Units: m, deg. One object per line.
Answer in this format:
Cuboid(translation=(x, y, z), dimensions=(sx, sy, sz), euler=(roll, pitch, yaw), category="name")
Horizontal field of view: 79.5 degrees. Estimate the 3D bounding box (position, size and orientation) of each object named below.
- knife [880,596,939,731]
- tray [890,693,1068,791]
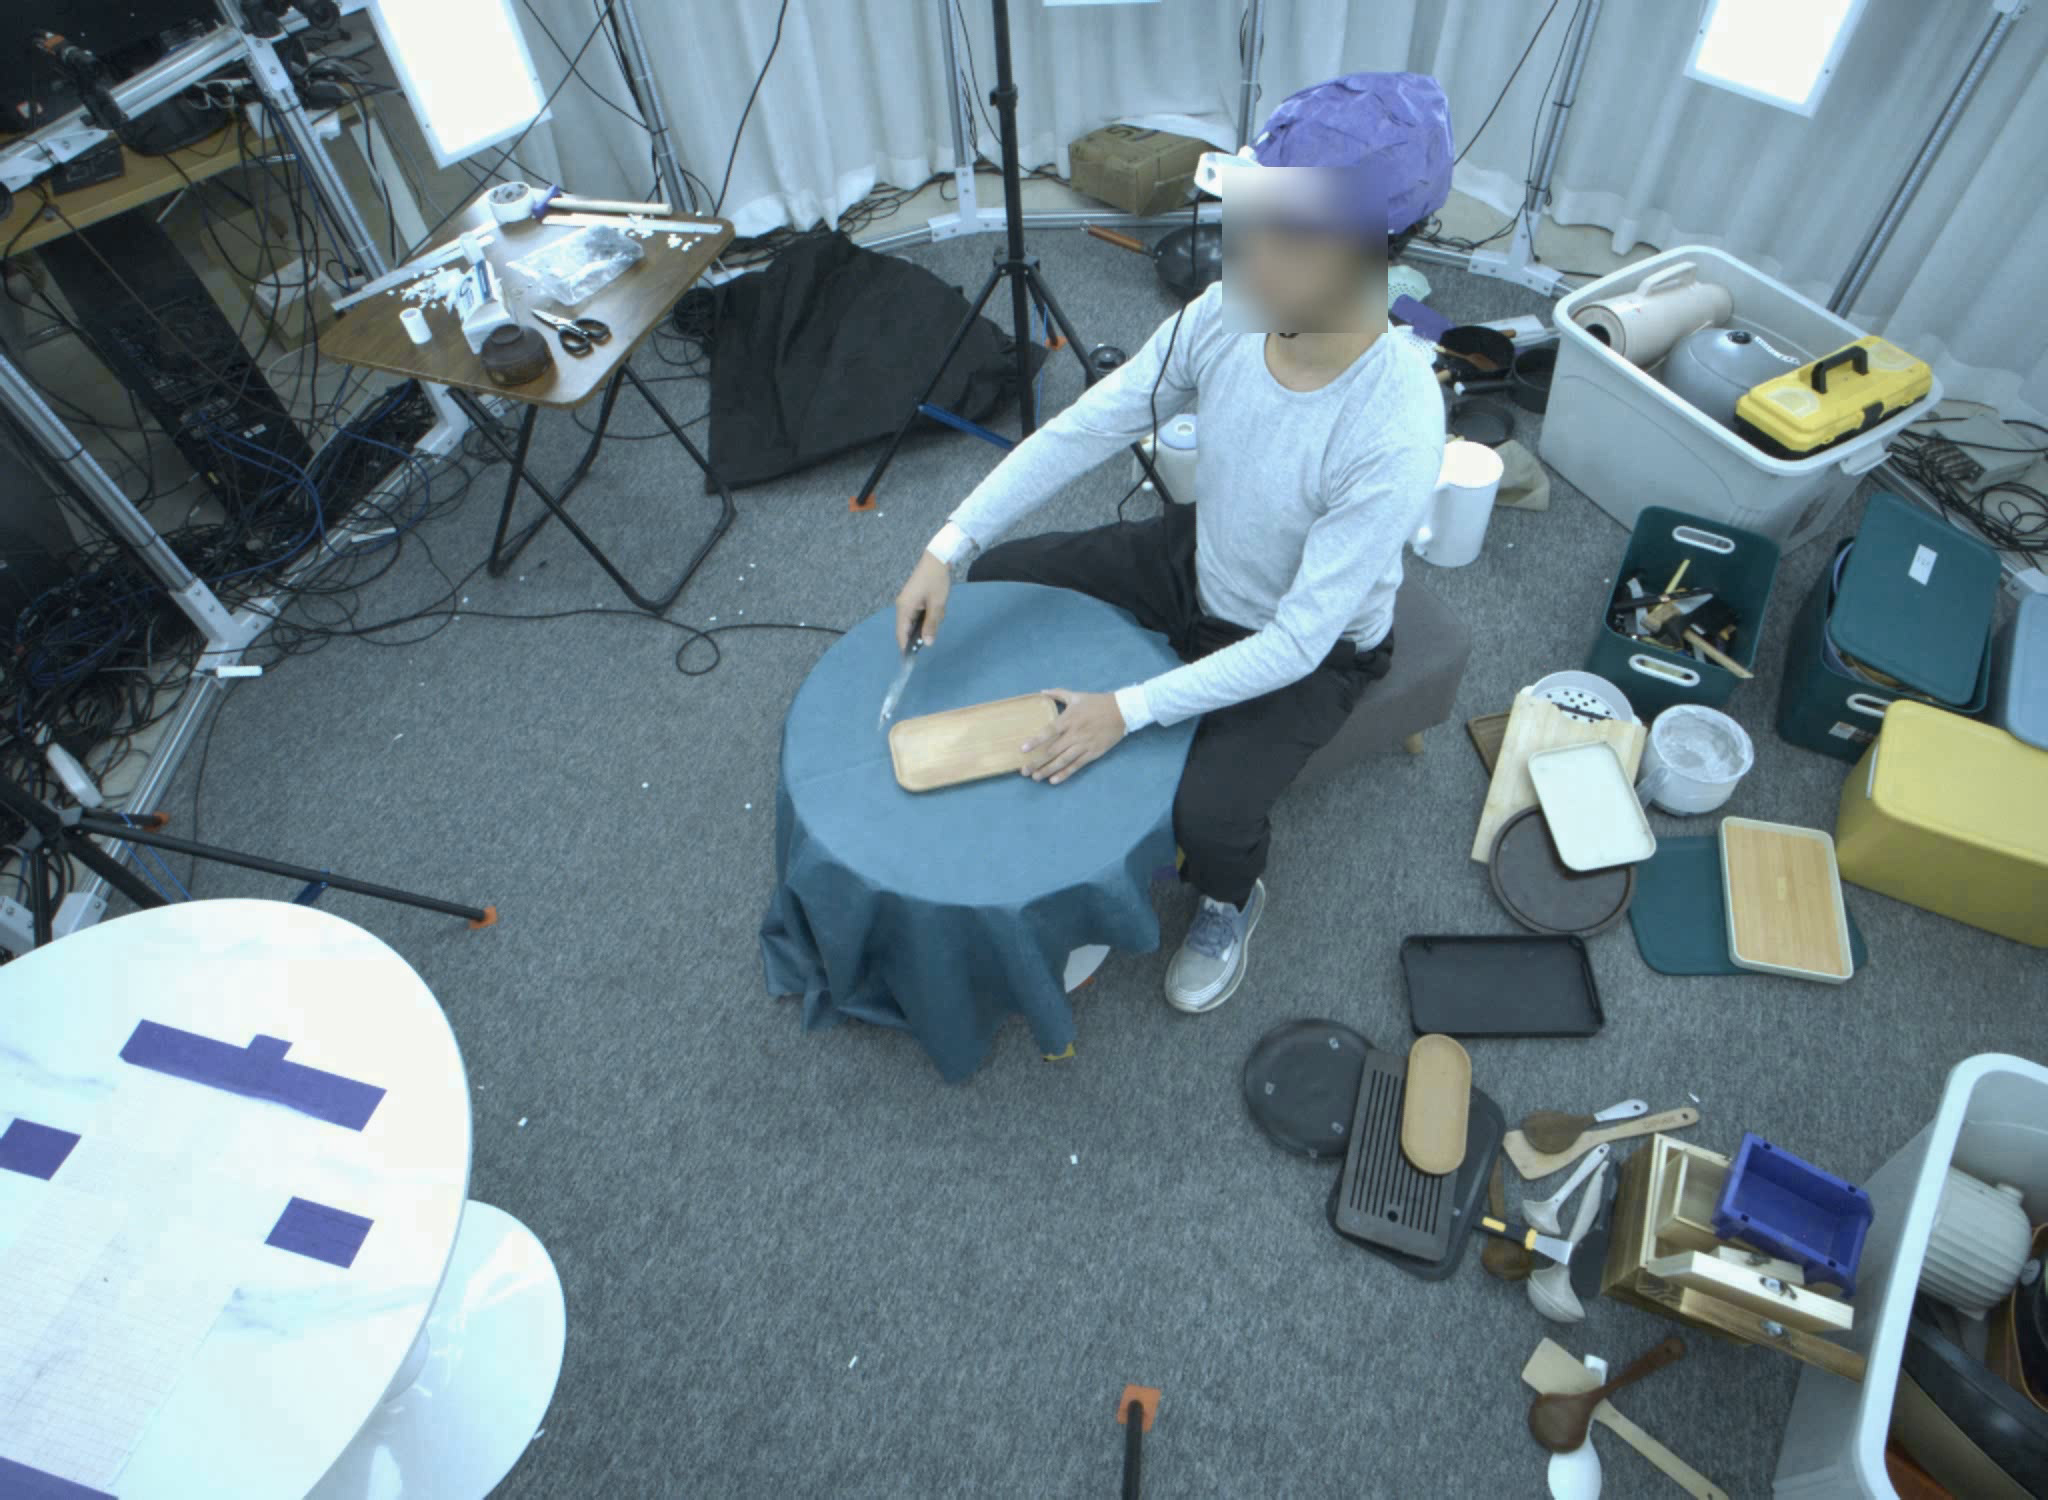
Cuboid(translation=(-0.171, -0.130, 1.782), dimensions=(0.016, 0.025, 0.237), euler=(-13, 50, 48), category="knife")
Cuboid(translation=(-0.067, -0.012, 1.795), dimensions=(0.252, 0.023, 0.128), euler=(-10, 58, -7), category="tray")
